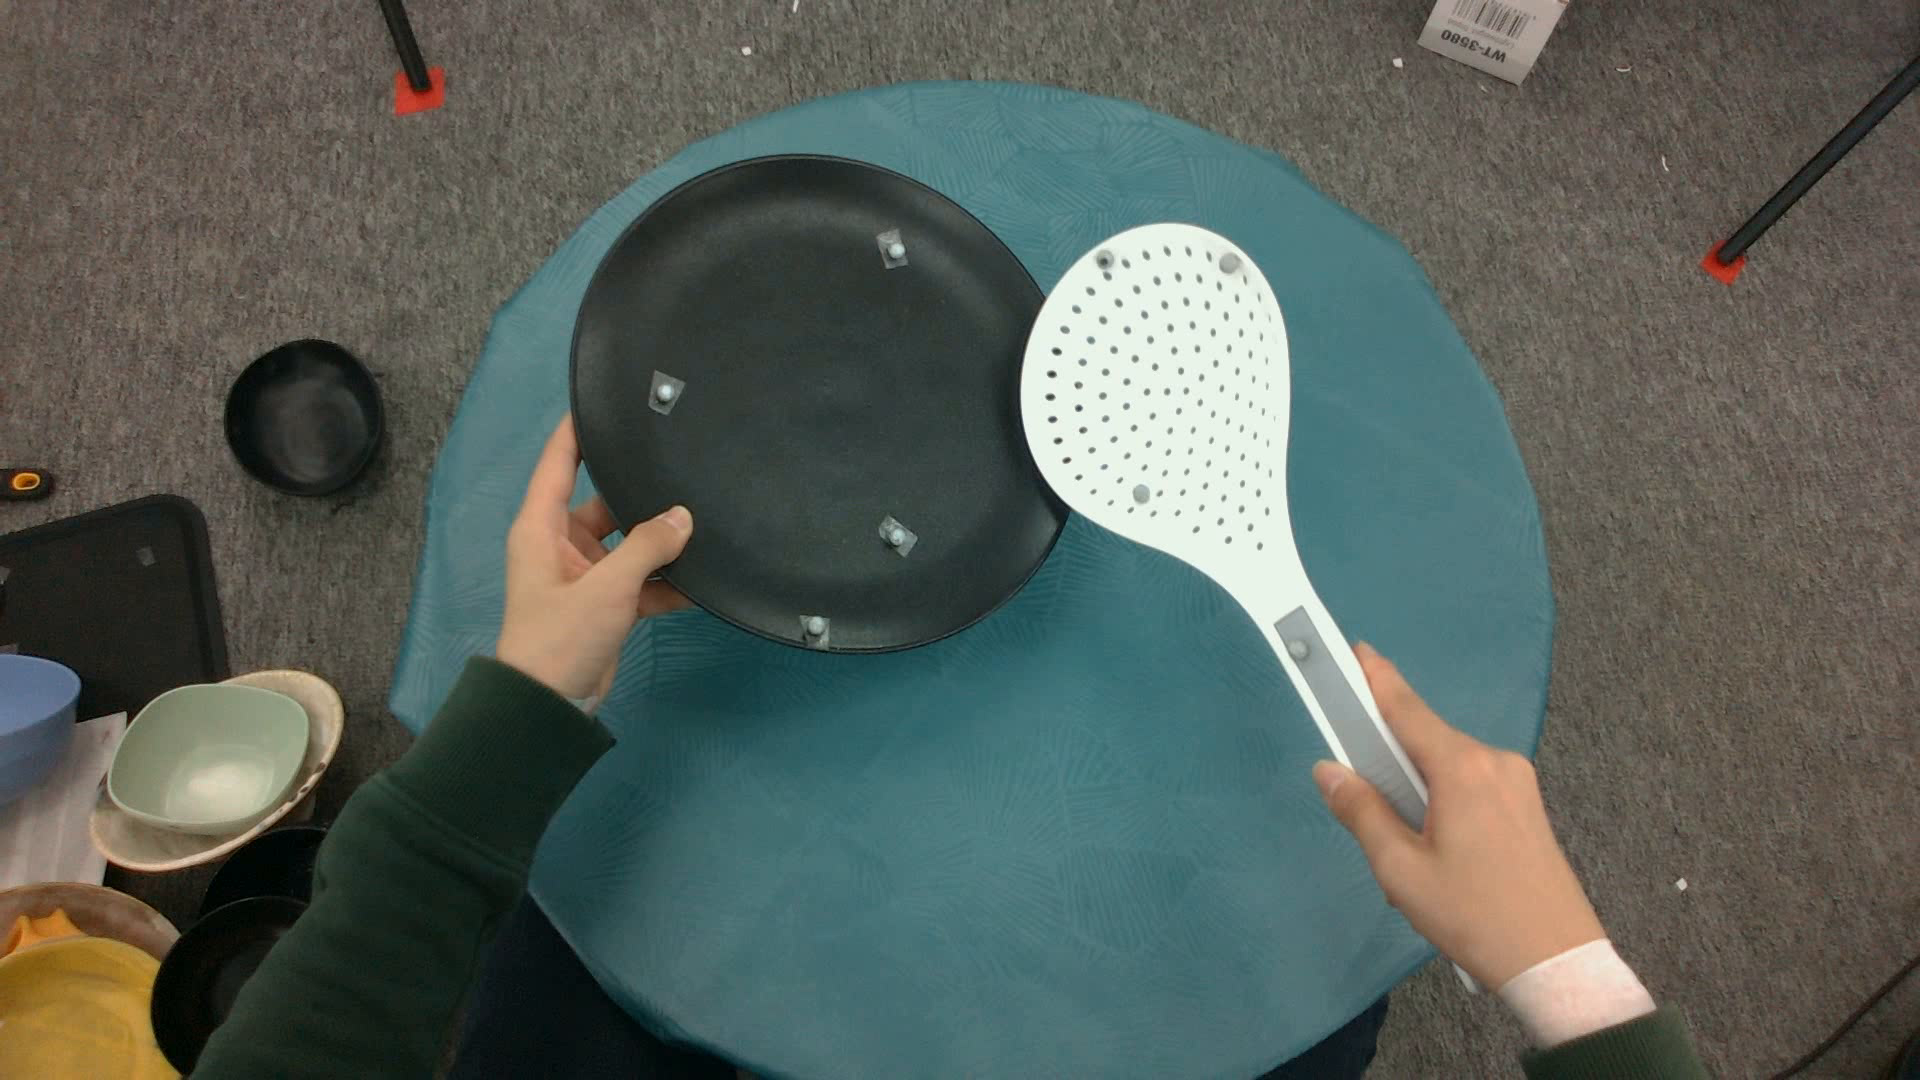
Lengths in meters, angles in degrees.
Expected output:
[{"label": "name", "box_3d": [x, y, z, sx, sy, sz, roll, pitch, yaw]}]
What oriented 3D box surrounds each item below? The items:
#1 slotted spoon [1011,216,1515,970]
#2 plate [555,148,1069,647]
[{"label": "slotted spoon", "box_3d": [0.127, 0.013, 0.584, 0.046, 0.135, 0.350, 10, 48, -49]}, {"label": "plate", "box_3d": [-0.063, -0.068, 0.642, 0.245, 0.023, 0.245, 6, 73, -20]}]
